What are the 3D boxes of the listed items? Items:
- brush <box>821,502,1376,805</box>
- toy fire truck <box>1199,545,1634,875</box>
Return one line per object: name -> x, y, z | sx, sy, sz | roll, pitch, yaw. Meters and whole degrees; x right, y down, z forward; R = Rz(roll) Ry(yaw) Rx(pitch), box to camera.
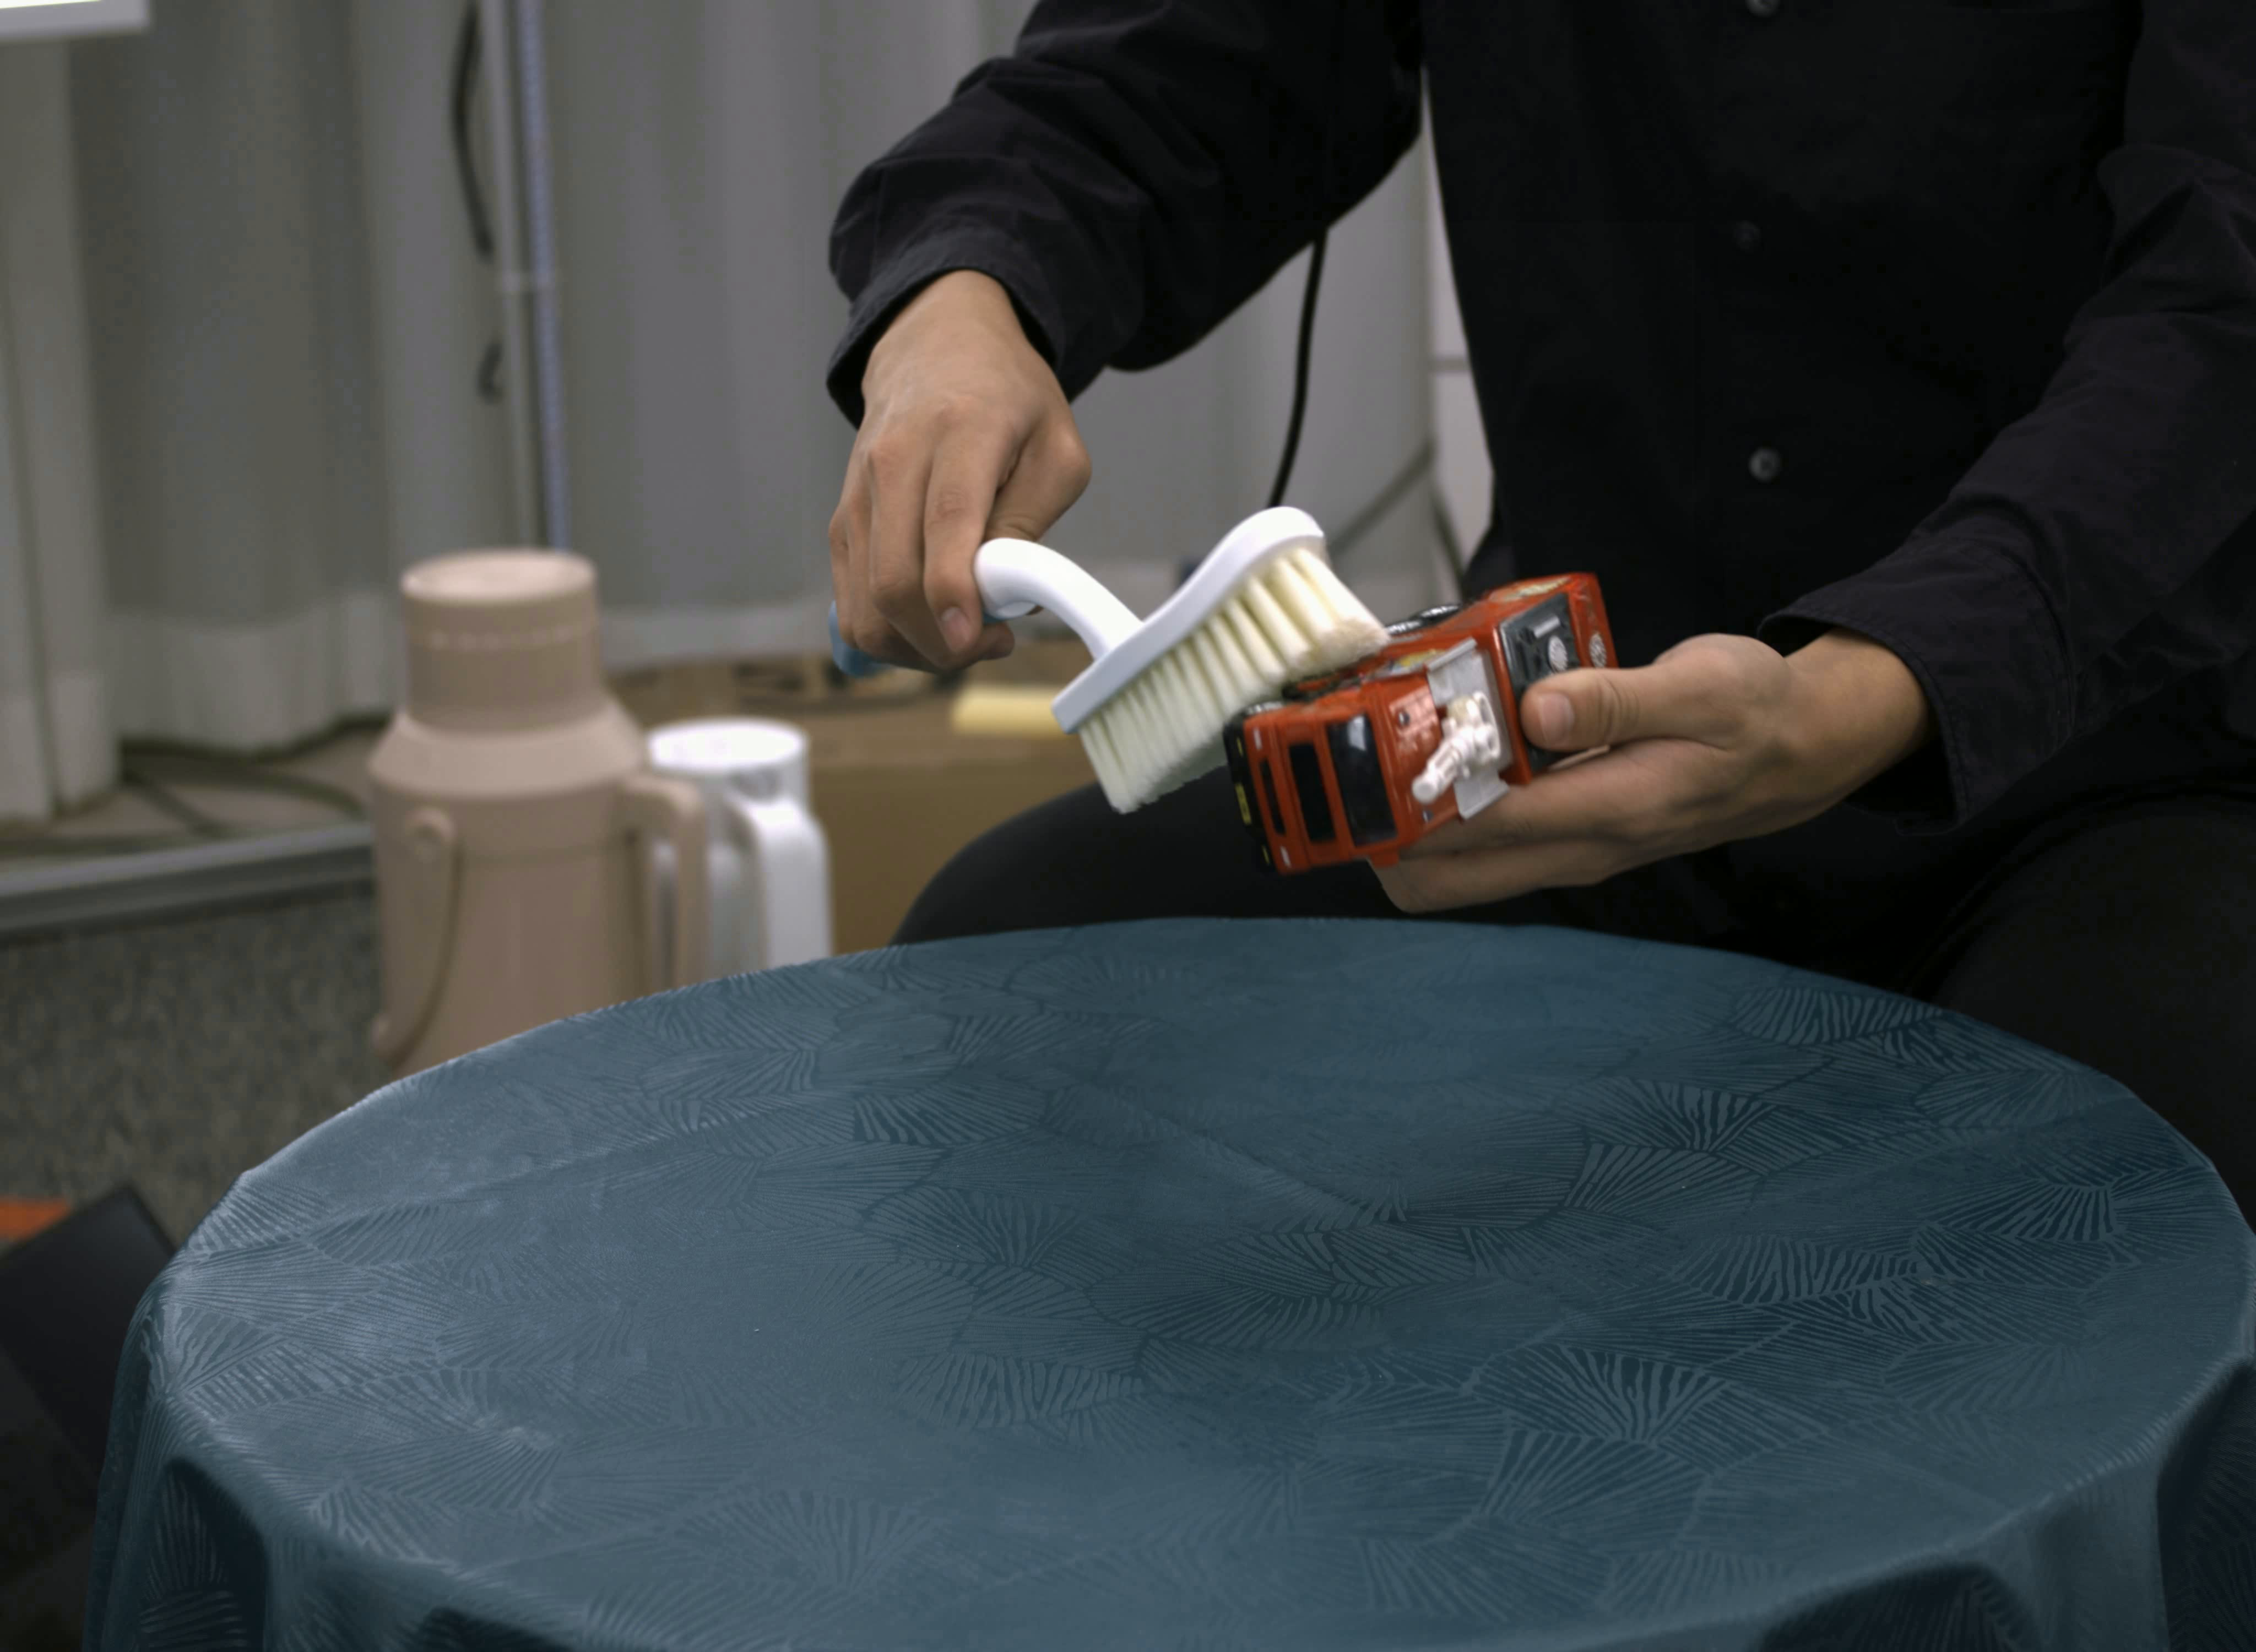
brush -> -0.008, -0.042, 1.583 | 0.081, 0.085, 0.330 | 12, -8, -22
toy fire truck -> 0.081, -0.032, 1.444 | 0.071, 0.054, 0.165 | -9, 11, 30
